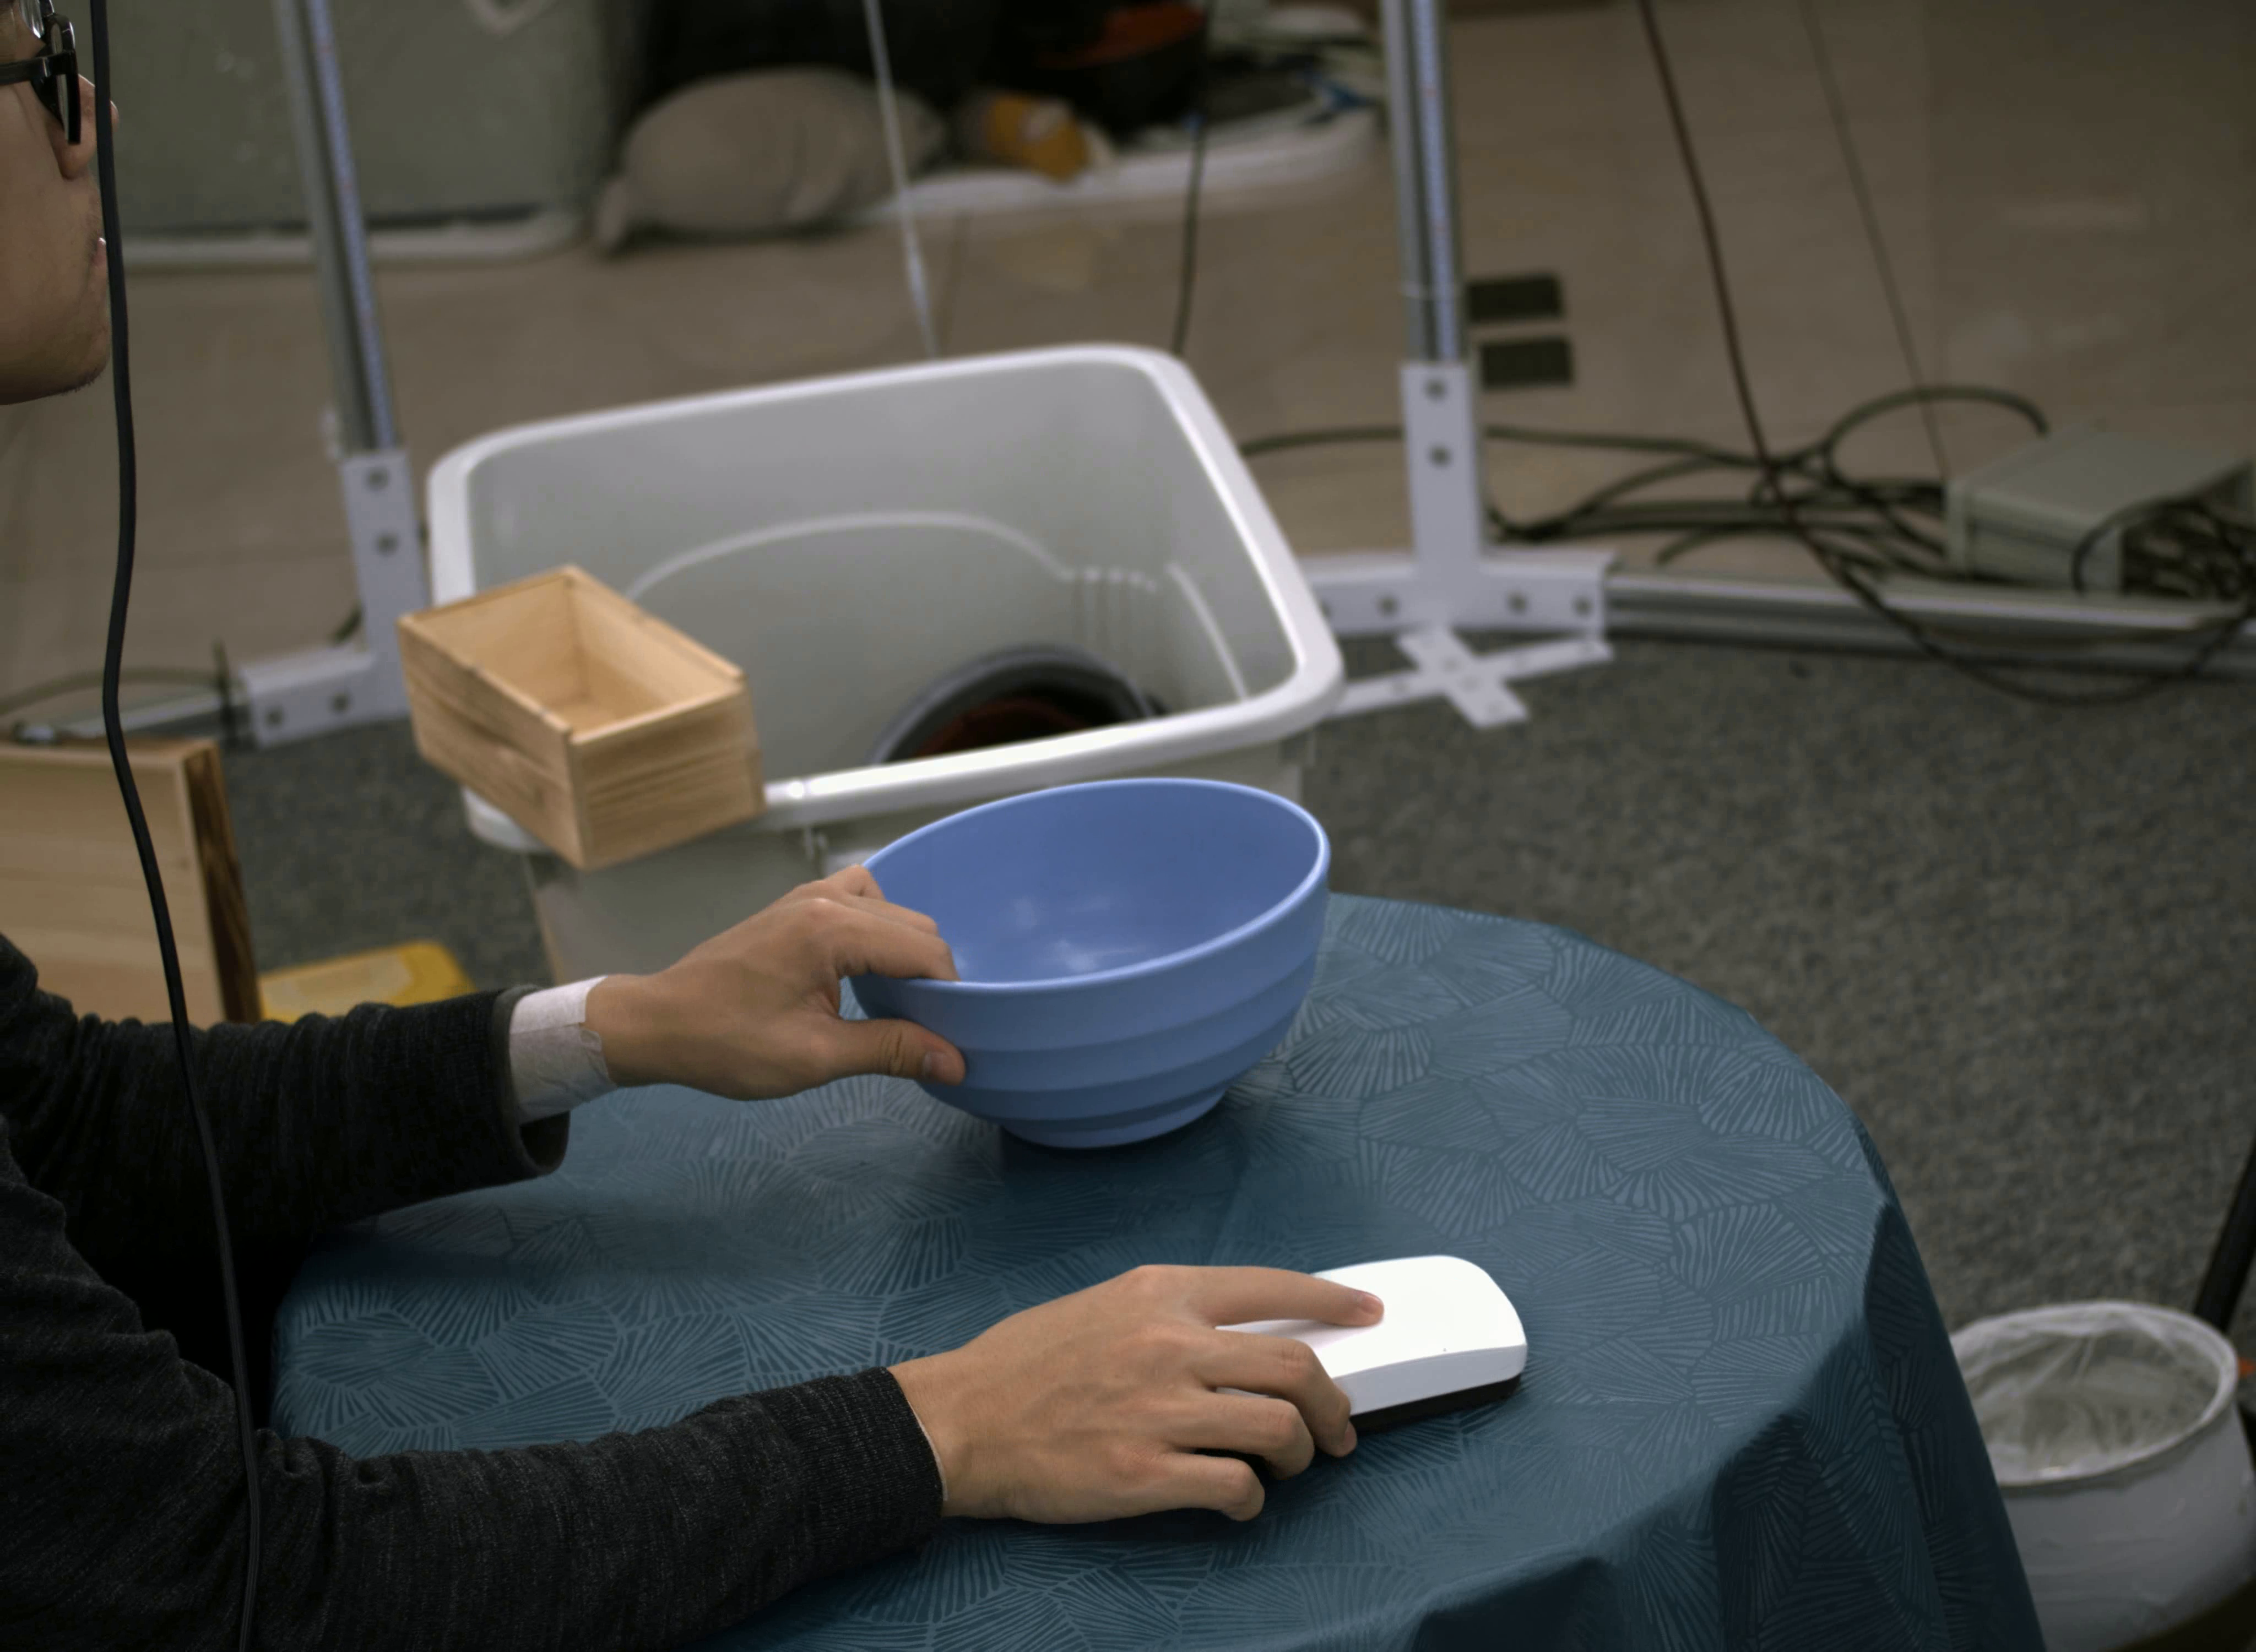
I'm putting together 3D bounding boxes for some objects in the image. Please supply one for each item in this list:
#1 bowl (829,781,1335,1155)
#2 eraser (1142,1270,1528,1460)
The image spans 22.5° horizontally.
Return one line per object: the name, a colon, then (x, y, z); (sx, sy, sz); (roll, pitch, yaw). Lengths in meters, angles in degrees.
bowl: (-0.013, 0.065, 2.195); (0.196, 0.097, 0.194); (-6, 24, 3)
eraser: (0.072, 0.185, 1.982); (0.131, 0.035, 0.062); (-9, 28, -19)
